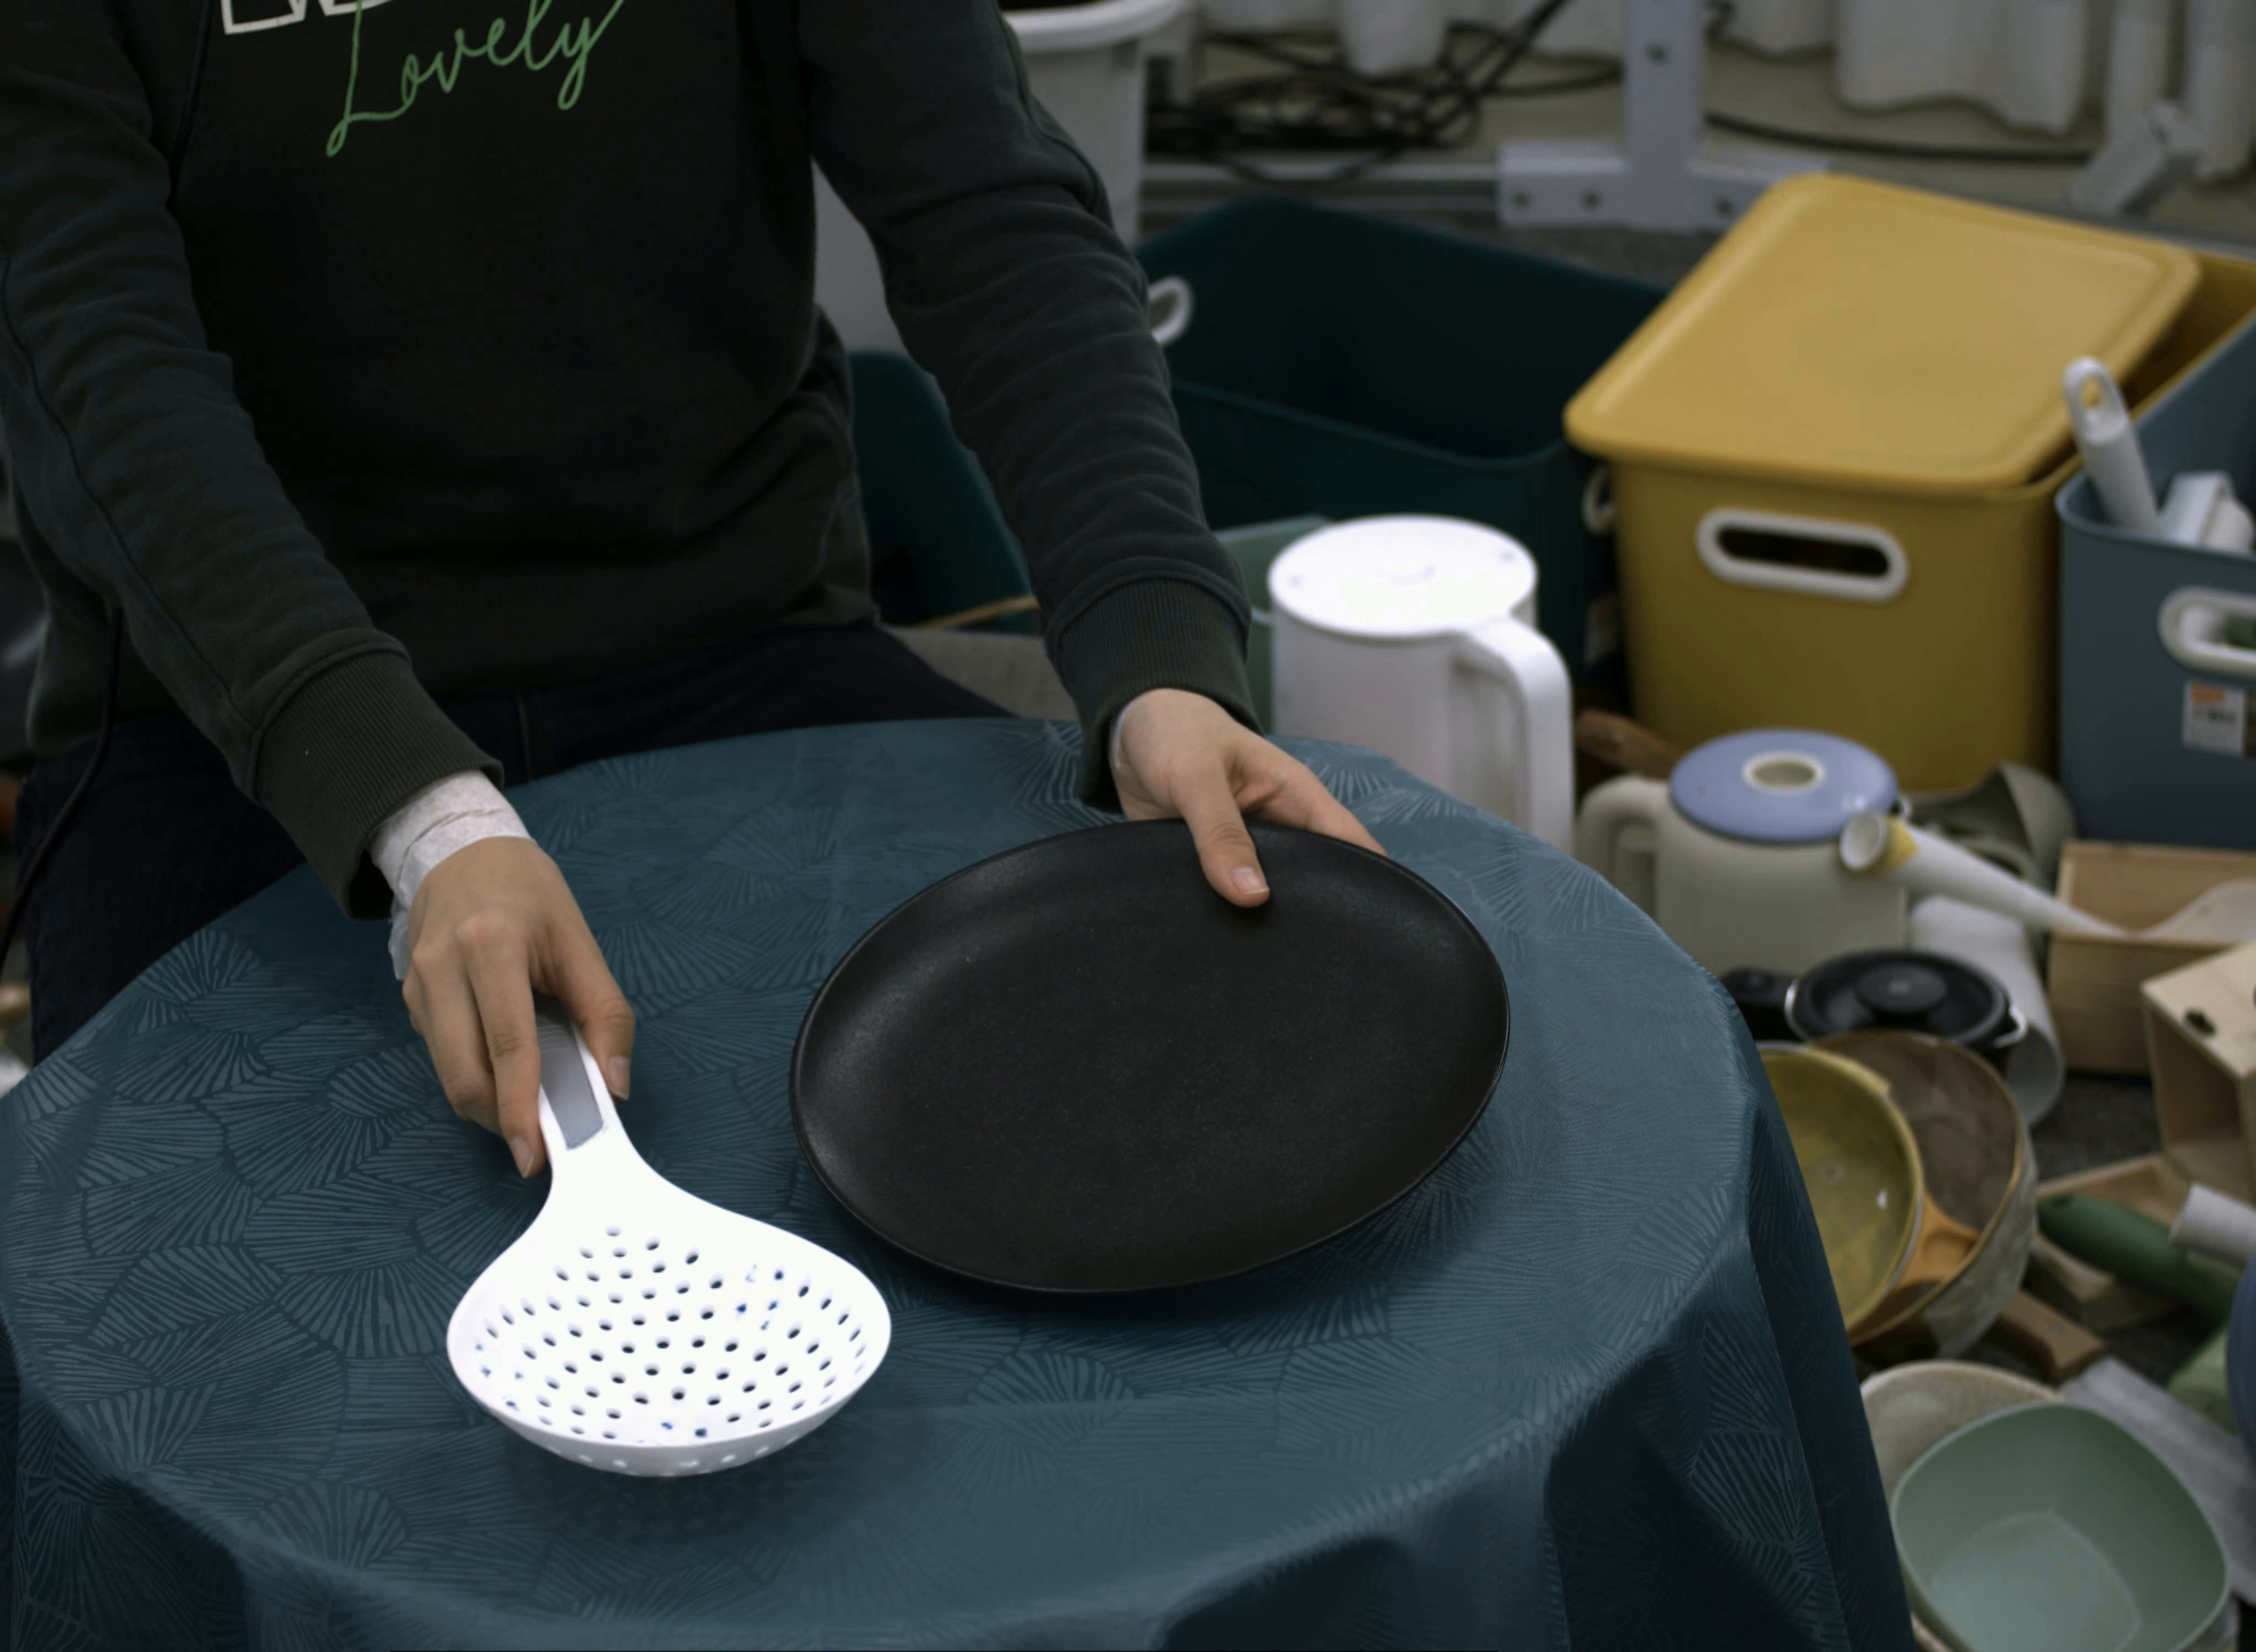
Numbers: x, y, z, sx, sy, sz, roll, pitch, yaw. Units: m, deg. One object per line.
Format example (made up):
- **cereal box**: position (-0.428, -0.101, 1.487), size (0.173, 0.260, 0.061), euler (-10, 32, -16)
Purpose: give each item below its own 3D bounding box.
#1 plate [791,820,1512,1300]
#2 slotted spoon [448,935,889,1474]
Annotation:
- **plate**: position (0.008, 0.081, 1.879), size (0.243, 0.023, 0.249), euler (-5, 37, 4)
- **slotted spoon**: position (-0.171, 0.117, 1.823), size (0.136, 0.045, 0.354), euler (-5, 30, -15)
